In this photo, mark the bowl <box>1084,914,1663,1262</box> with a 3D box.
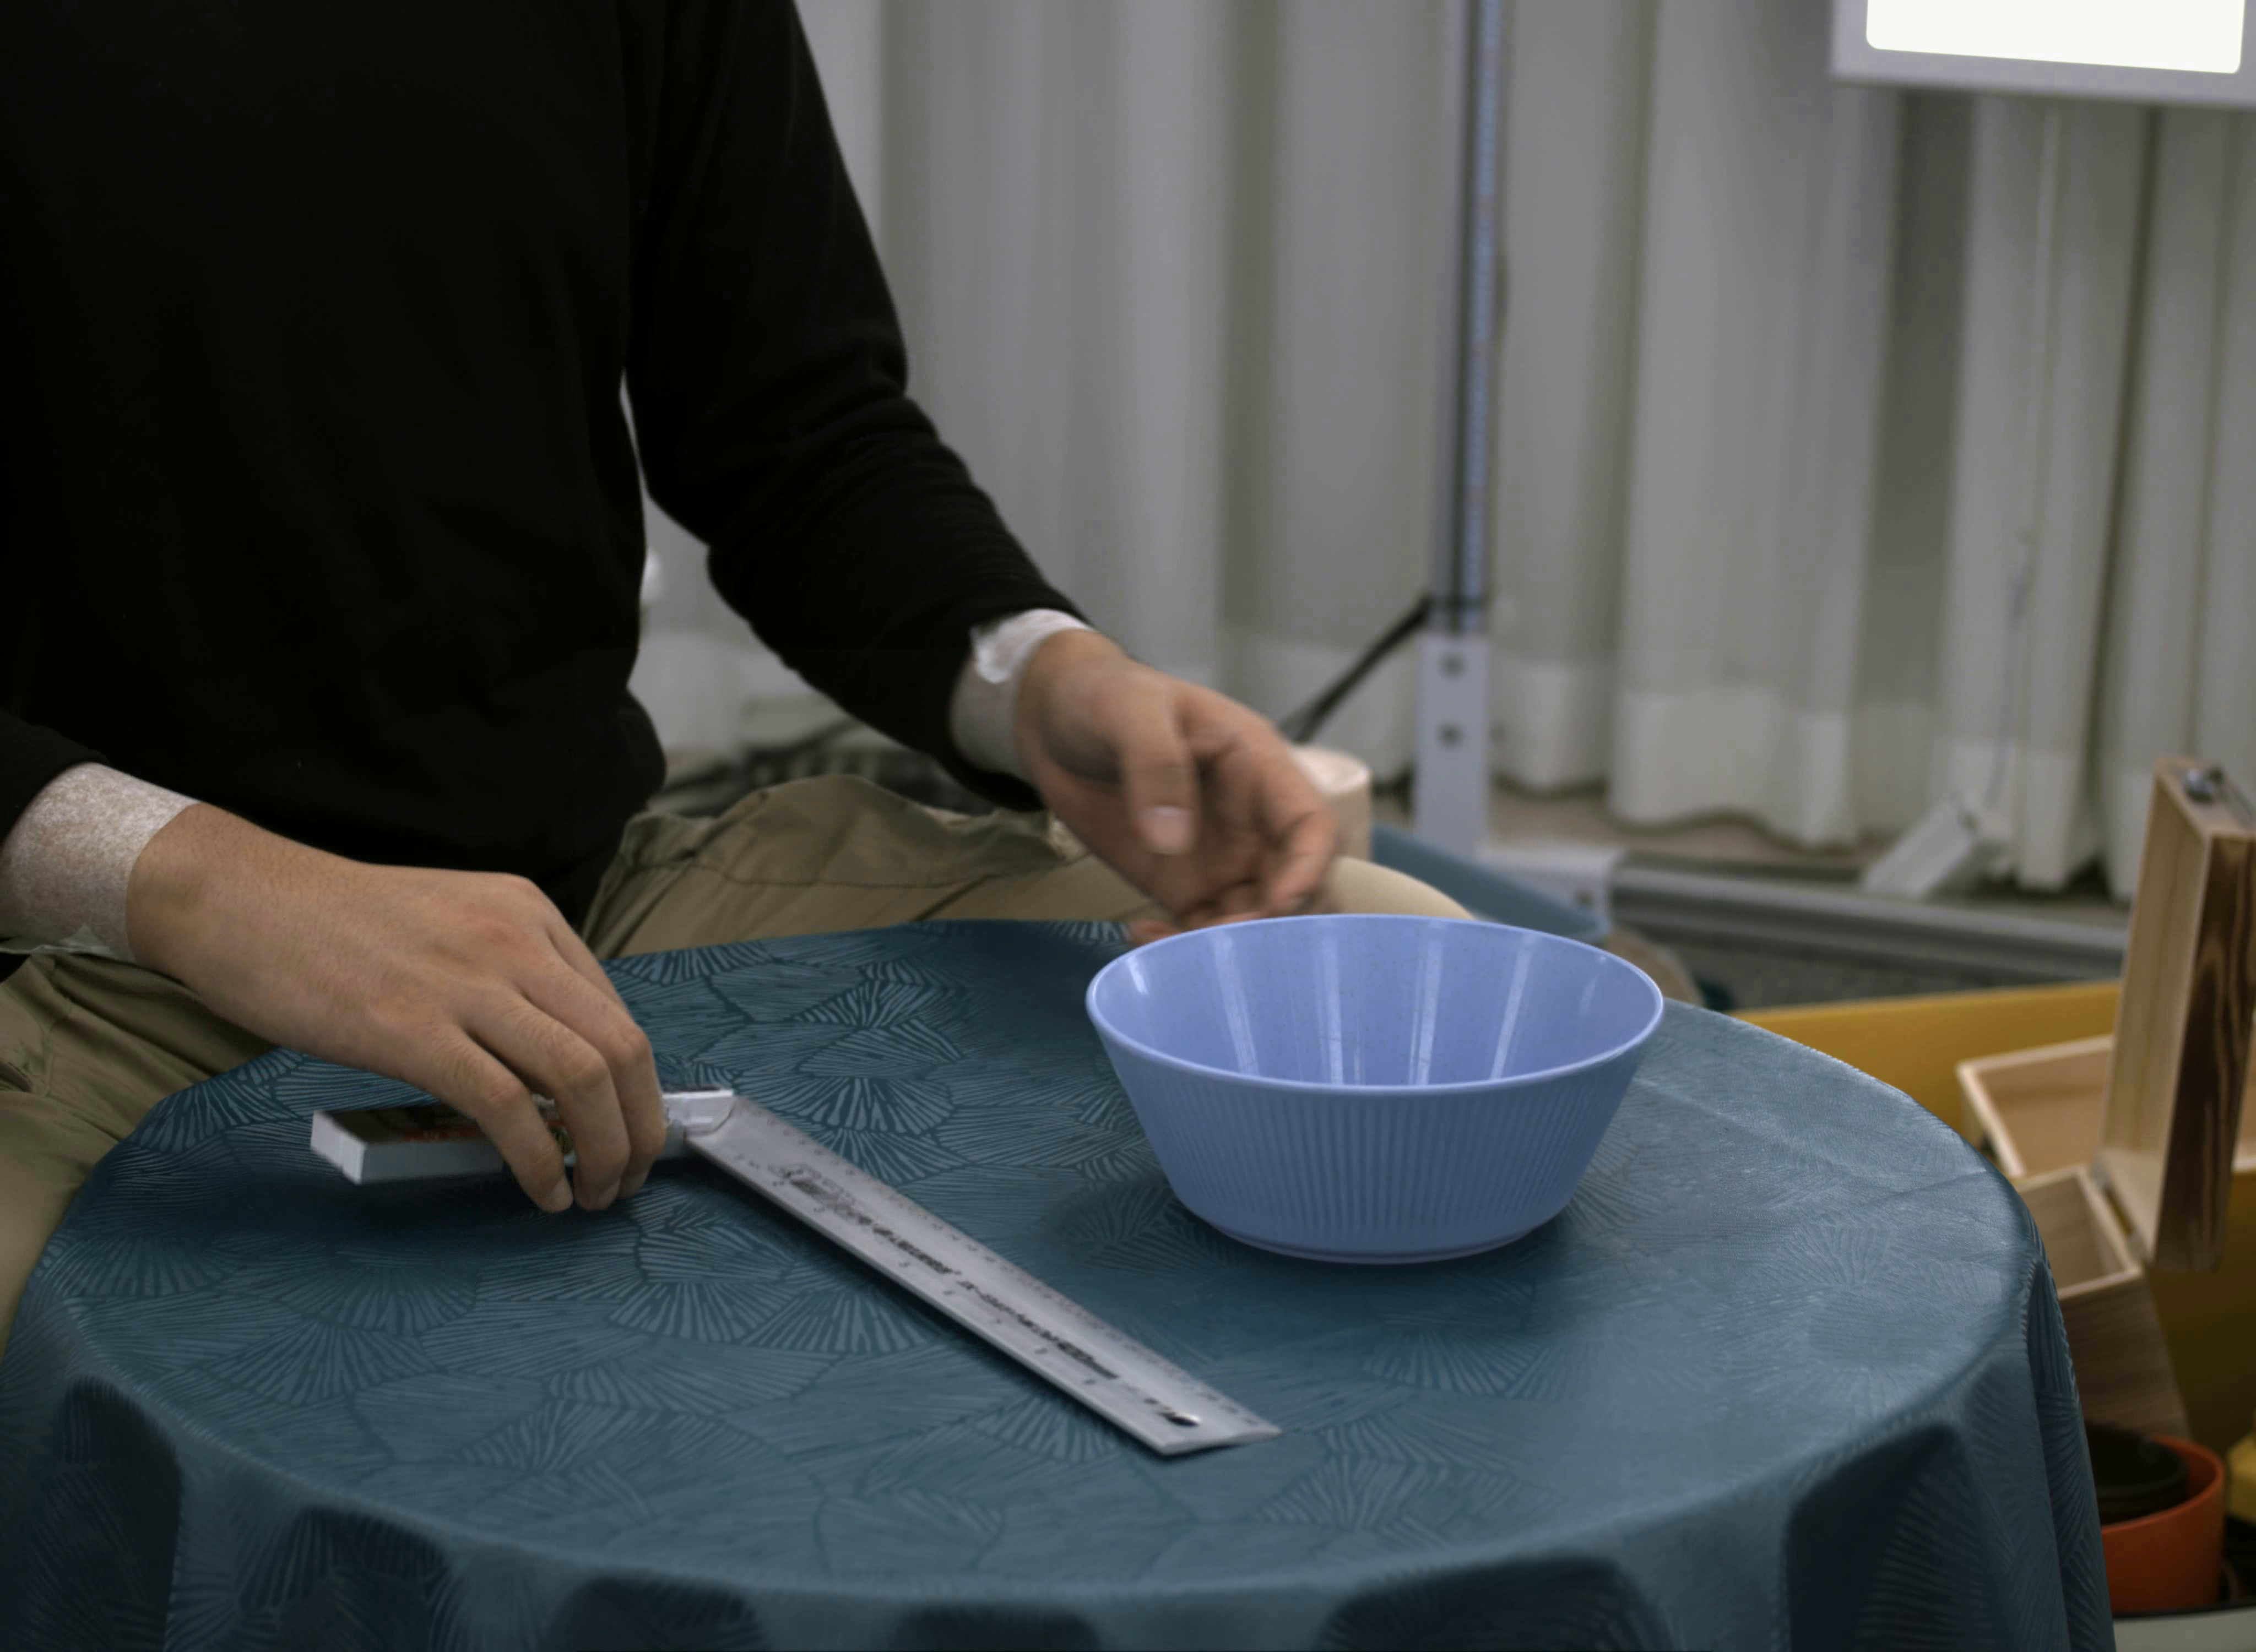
[{"bbox_3d":[0.074,0.082,1.602,0.175,0.071,0.175,0,16,0],"label":"bowl"}]

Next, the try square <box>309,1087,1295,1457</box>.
[{"bbox_3d":[-0.102,0.133,1.513,0.153,0.016,0.308,-7,18,-33],"label":"try square"}]
